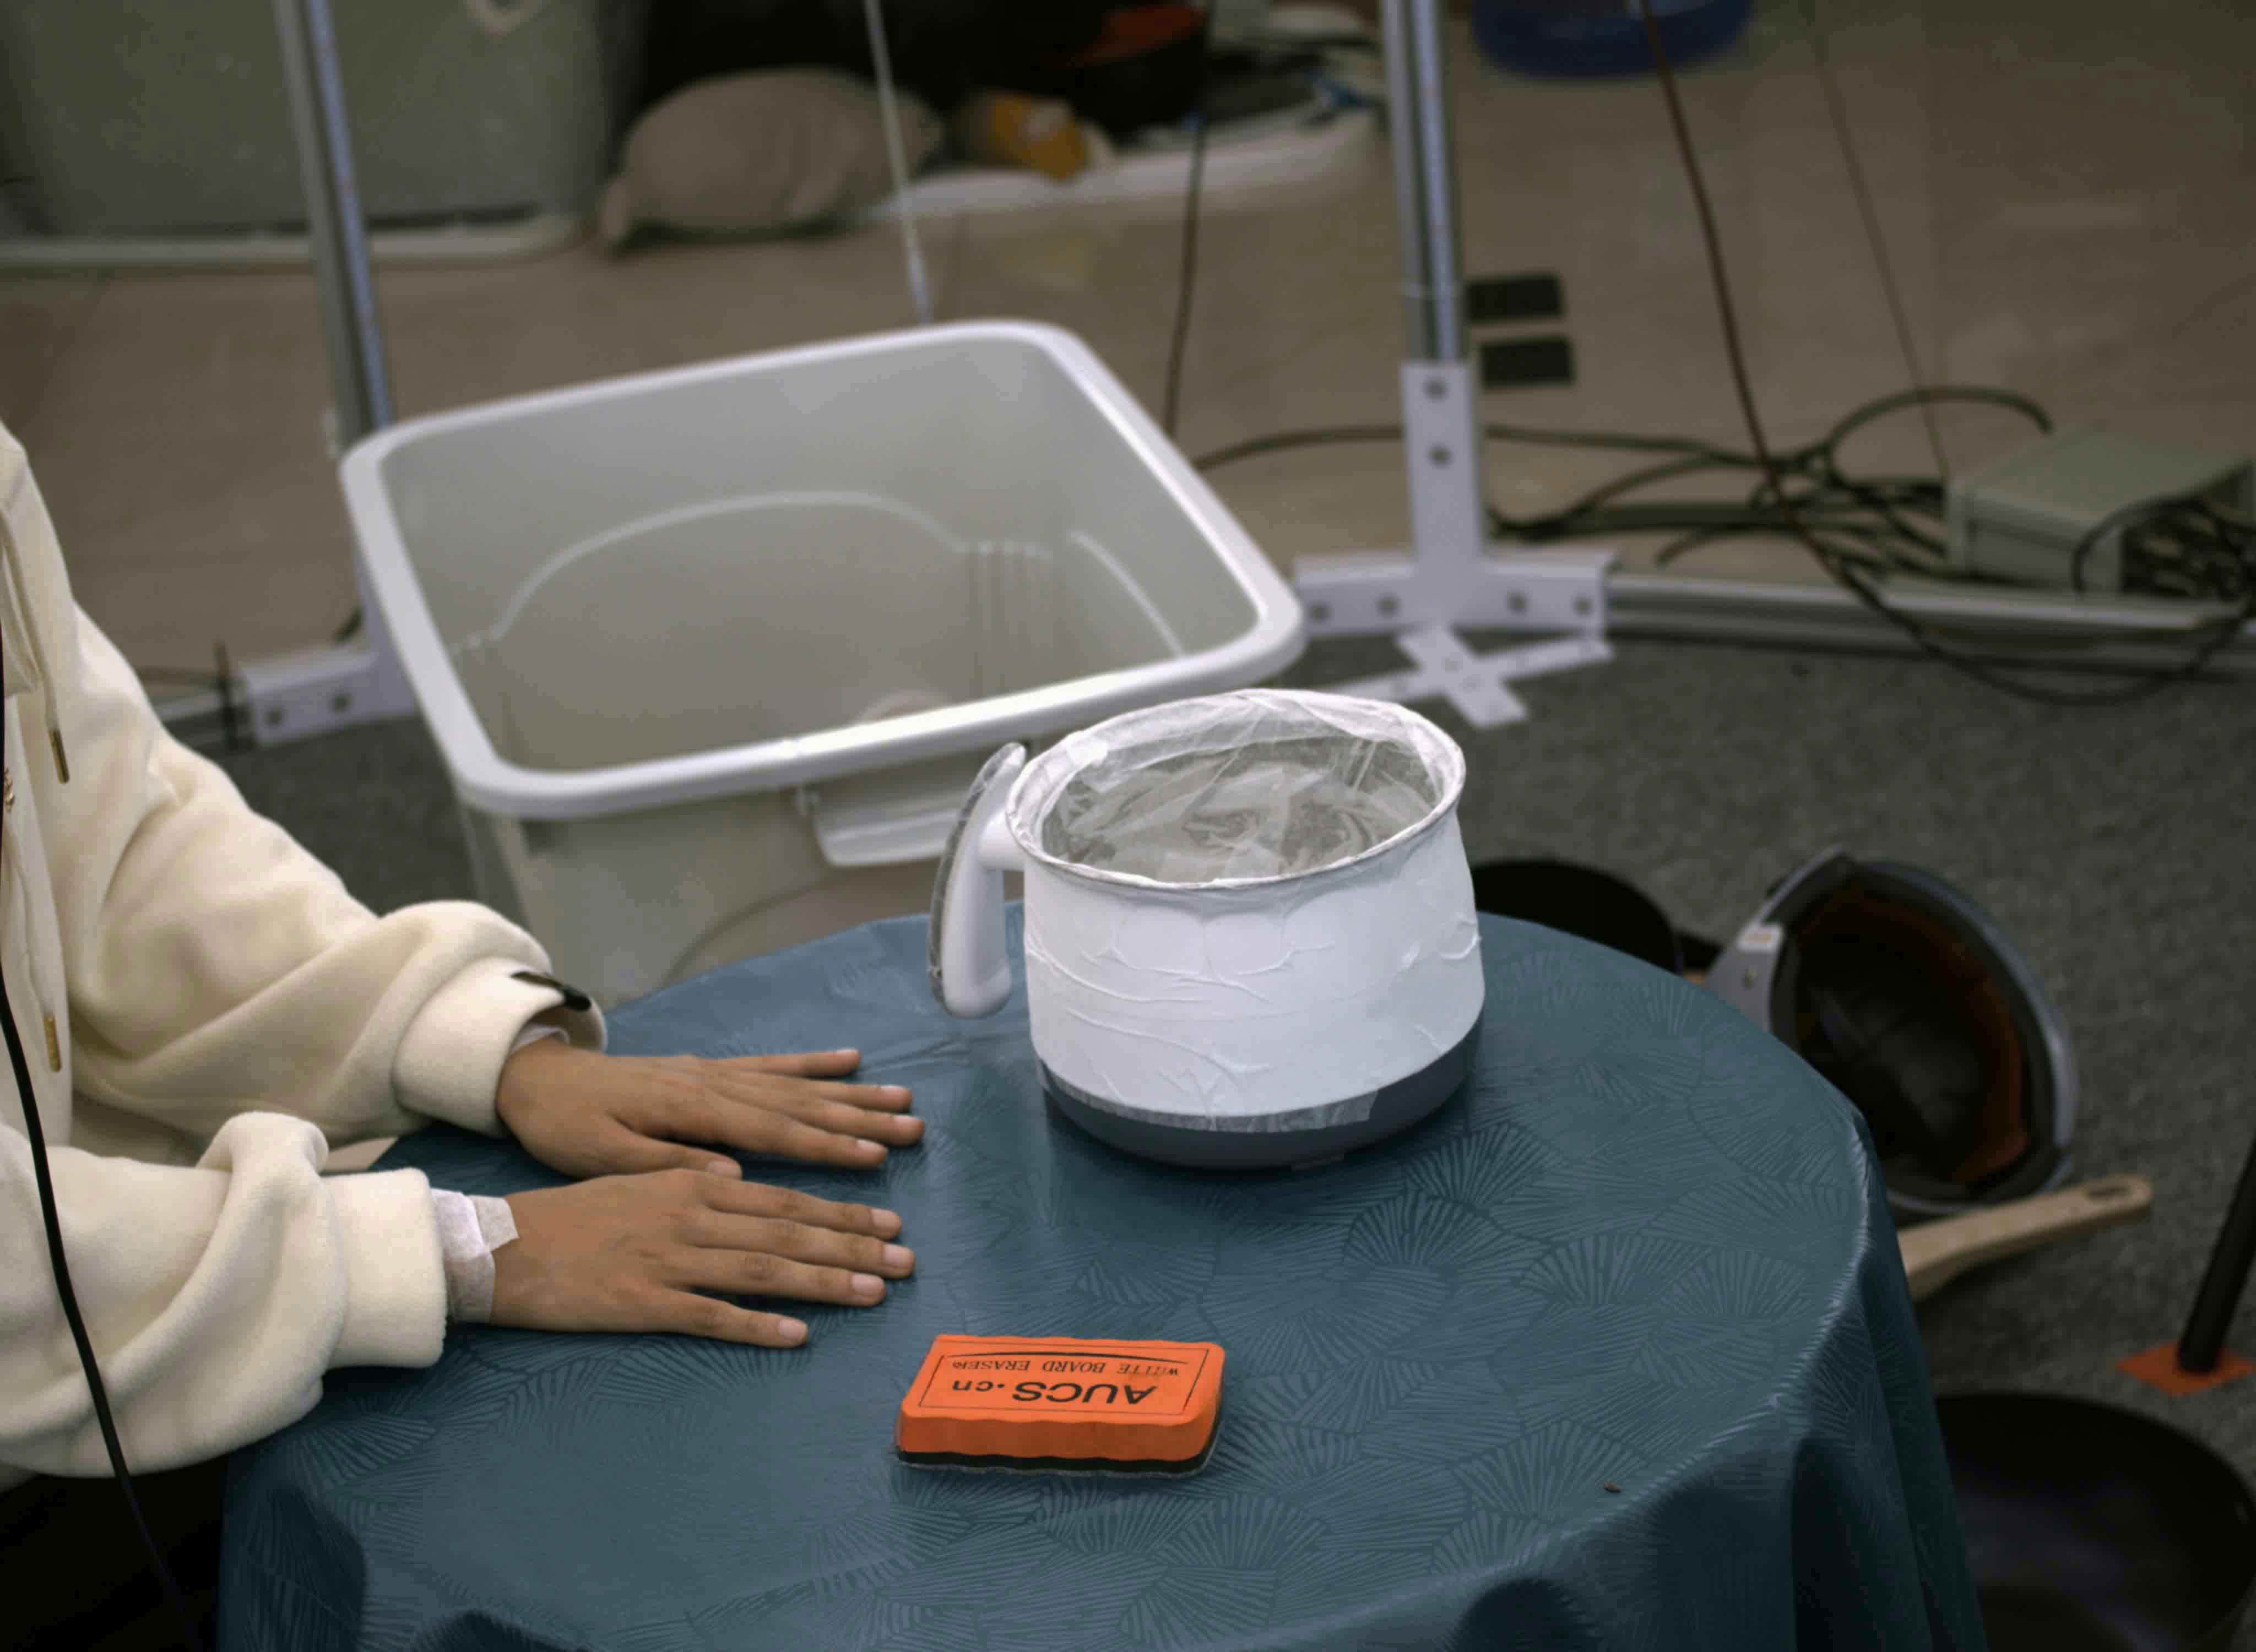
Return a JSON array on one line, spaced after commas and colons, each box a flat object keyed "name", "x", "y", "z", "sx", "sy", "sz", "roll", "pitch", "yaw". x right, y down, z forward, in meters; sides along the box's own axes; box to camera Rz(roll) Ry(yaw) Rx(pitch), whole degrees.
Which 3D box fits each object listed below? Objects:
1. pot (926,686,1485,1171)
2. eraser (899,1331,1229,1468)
[{"name": "pot", "x": 0.023, "y": 0.037, "z": 2.192, "sx": 0.232, "sy": 0.139, "sz": 0.176, "roll": 9, "pitch": 29, "yaw": 27}, {"name": "eraser", "x": -0.022, "y": 0.200, "z": 1.986, "sx": 0.108, "sy": 0.023, "sz": 0.058, "roll": -1, "pitch": 25, "yaw": 15}]
